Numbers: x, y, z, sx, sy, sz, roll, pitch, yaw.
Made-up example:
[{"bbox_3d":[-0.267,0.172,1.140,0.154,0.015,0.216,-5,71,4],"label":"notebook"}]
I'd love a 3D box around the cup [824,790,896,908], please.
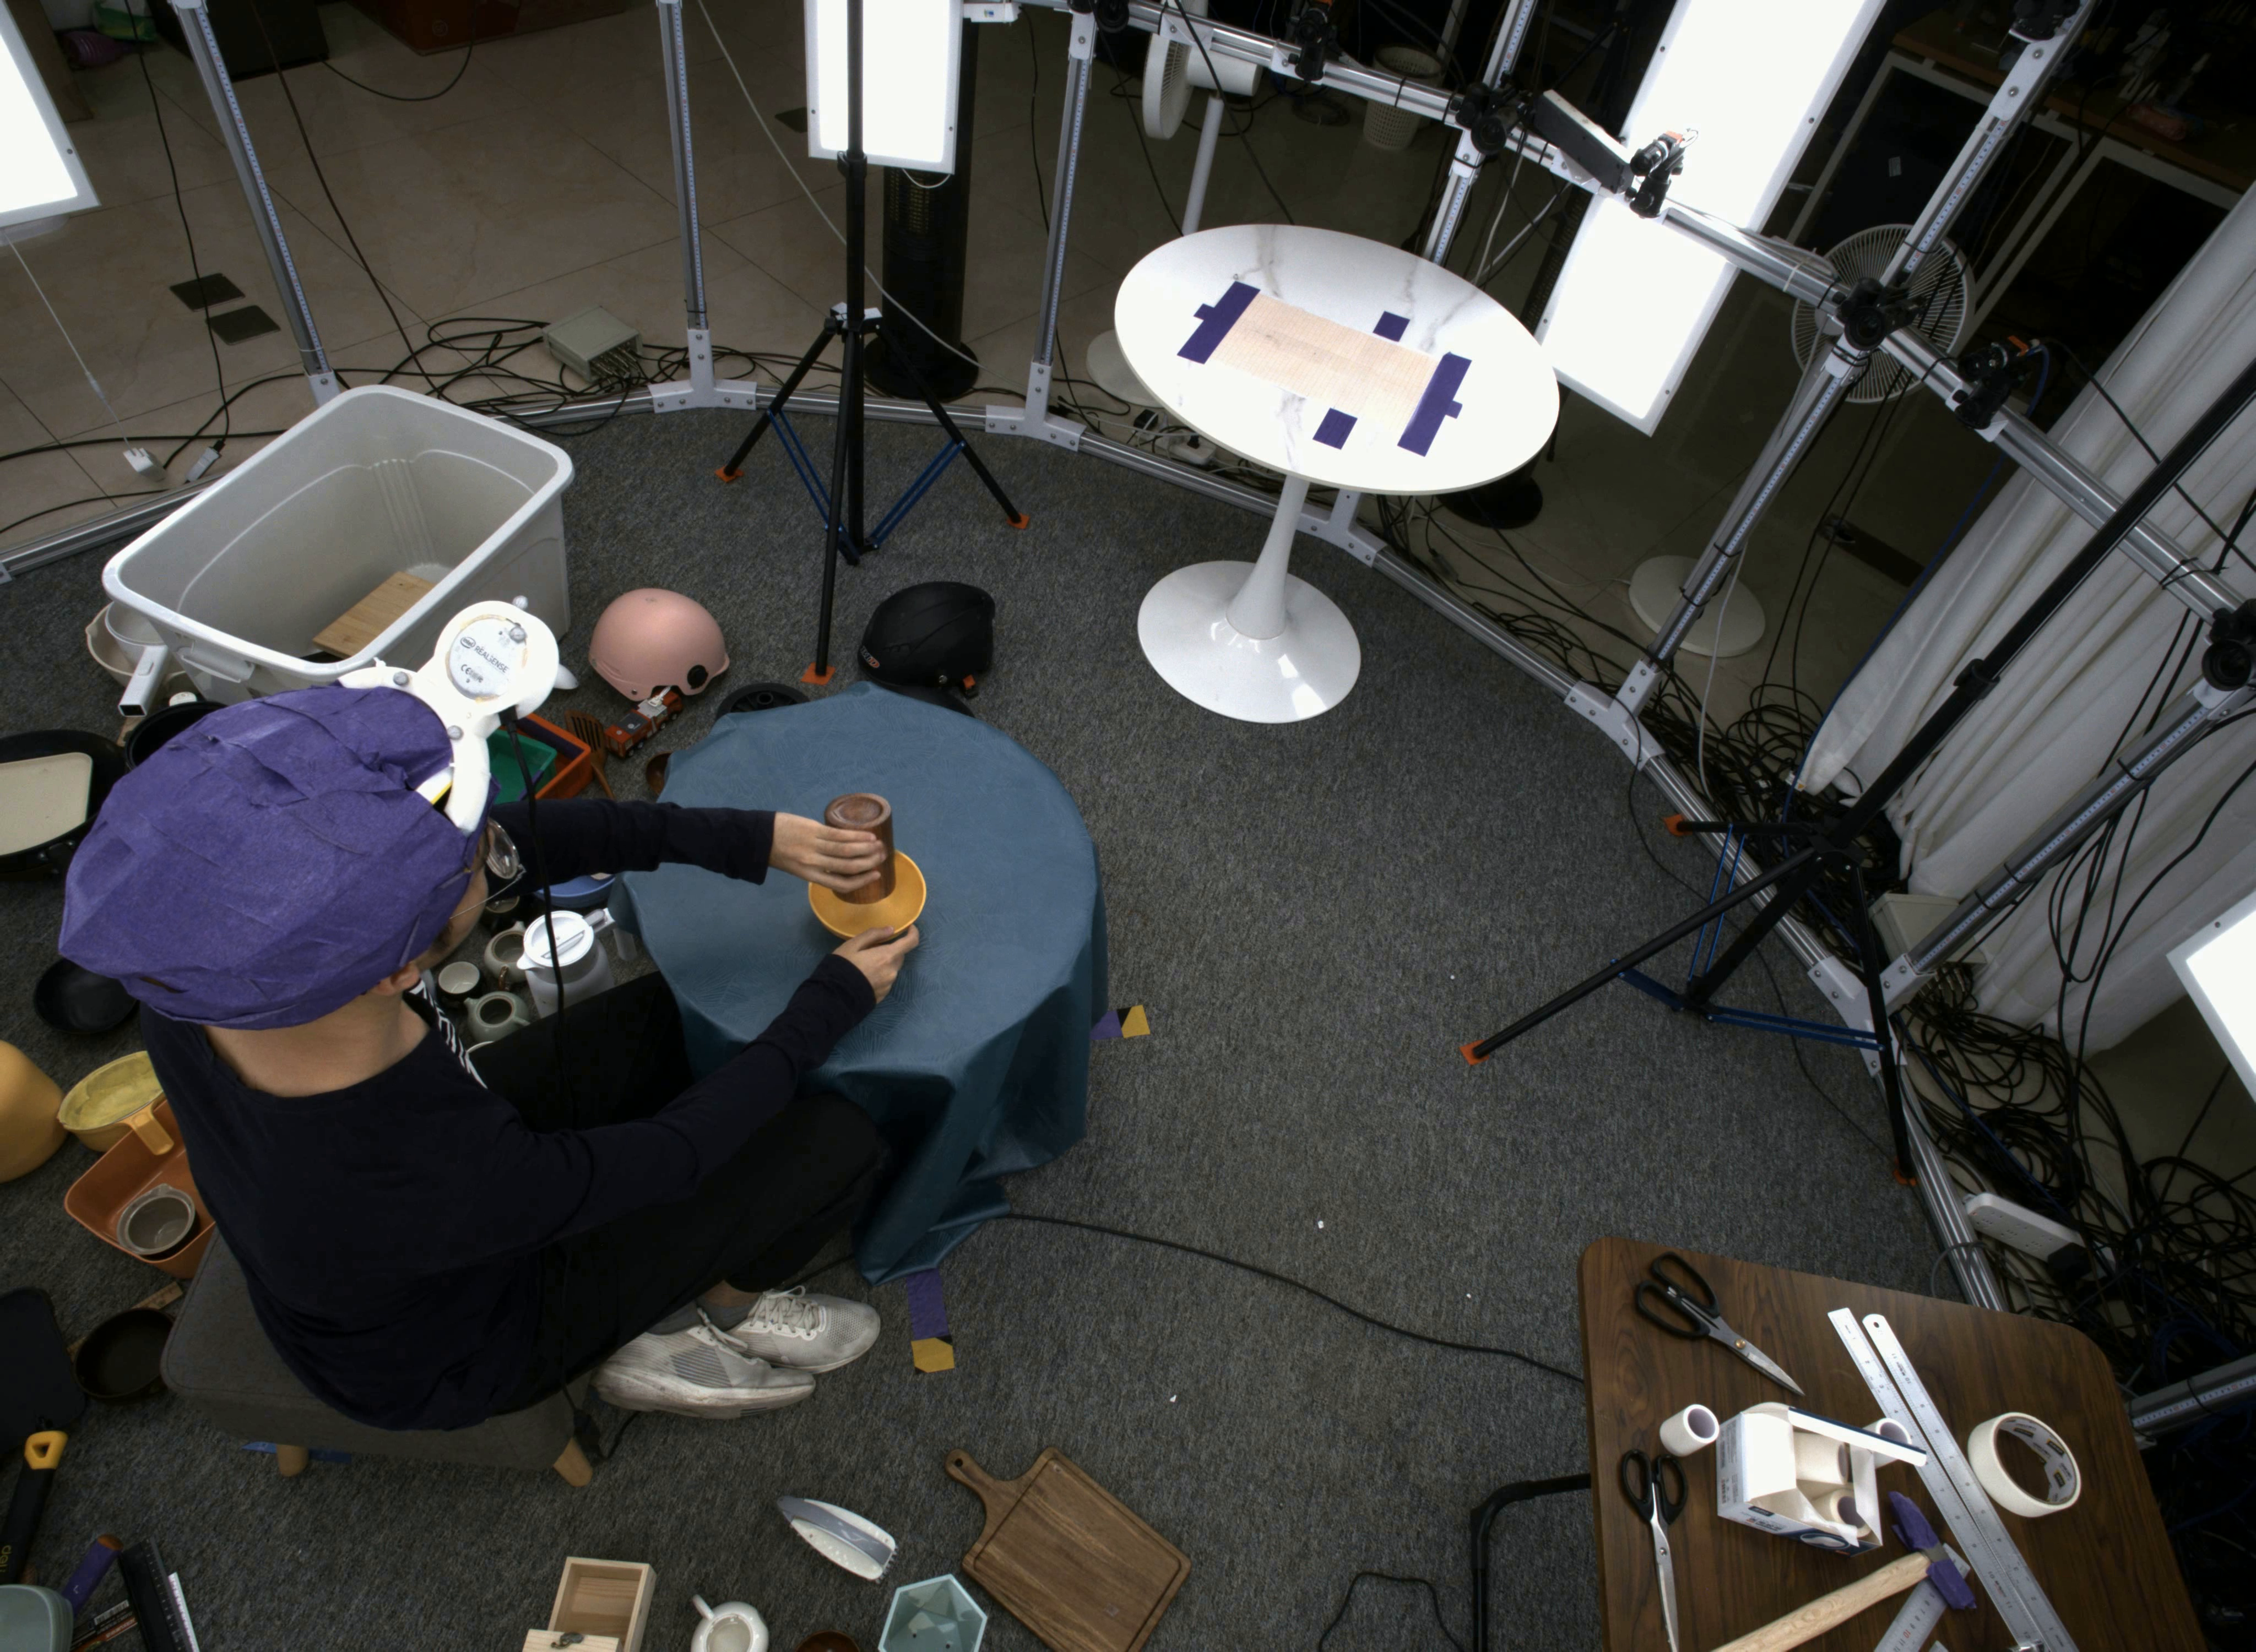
[{"bbox_3d":[-0.325,0.026,1.575,0.087,0.122,0.086,4,34,-1],"label":"cup"}]

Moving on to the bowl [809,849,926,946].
[{"bbox_3d":[-0.327,0.097,1.640,0.145,0.061,0.143,6,53,-7],"label":"bowl"}]
